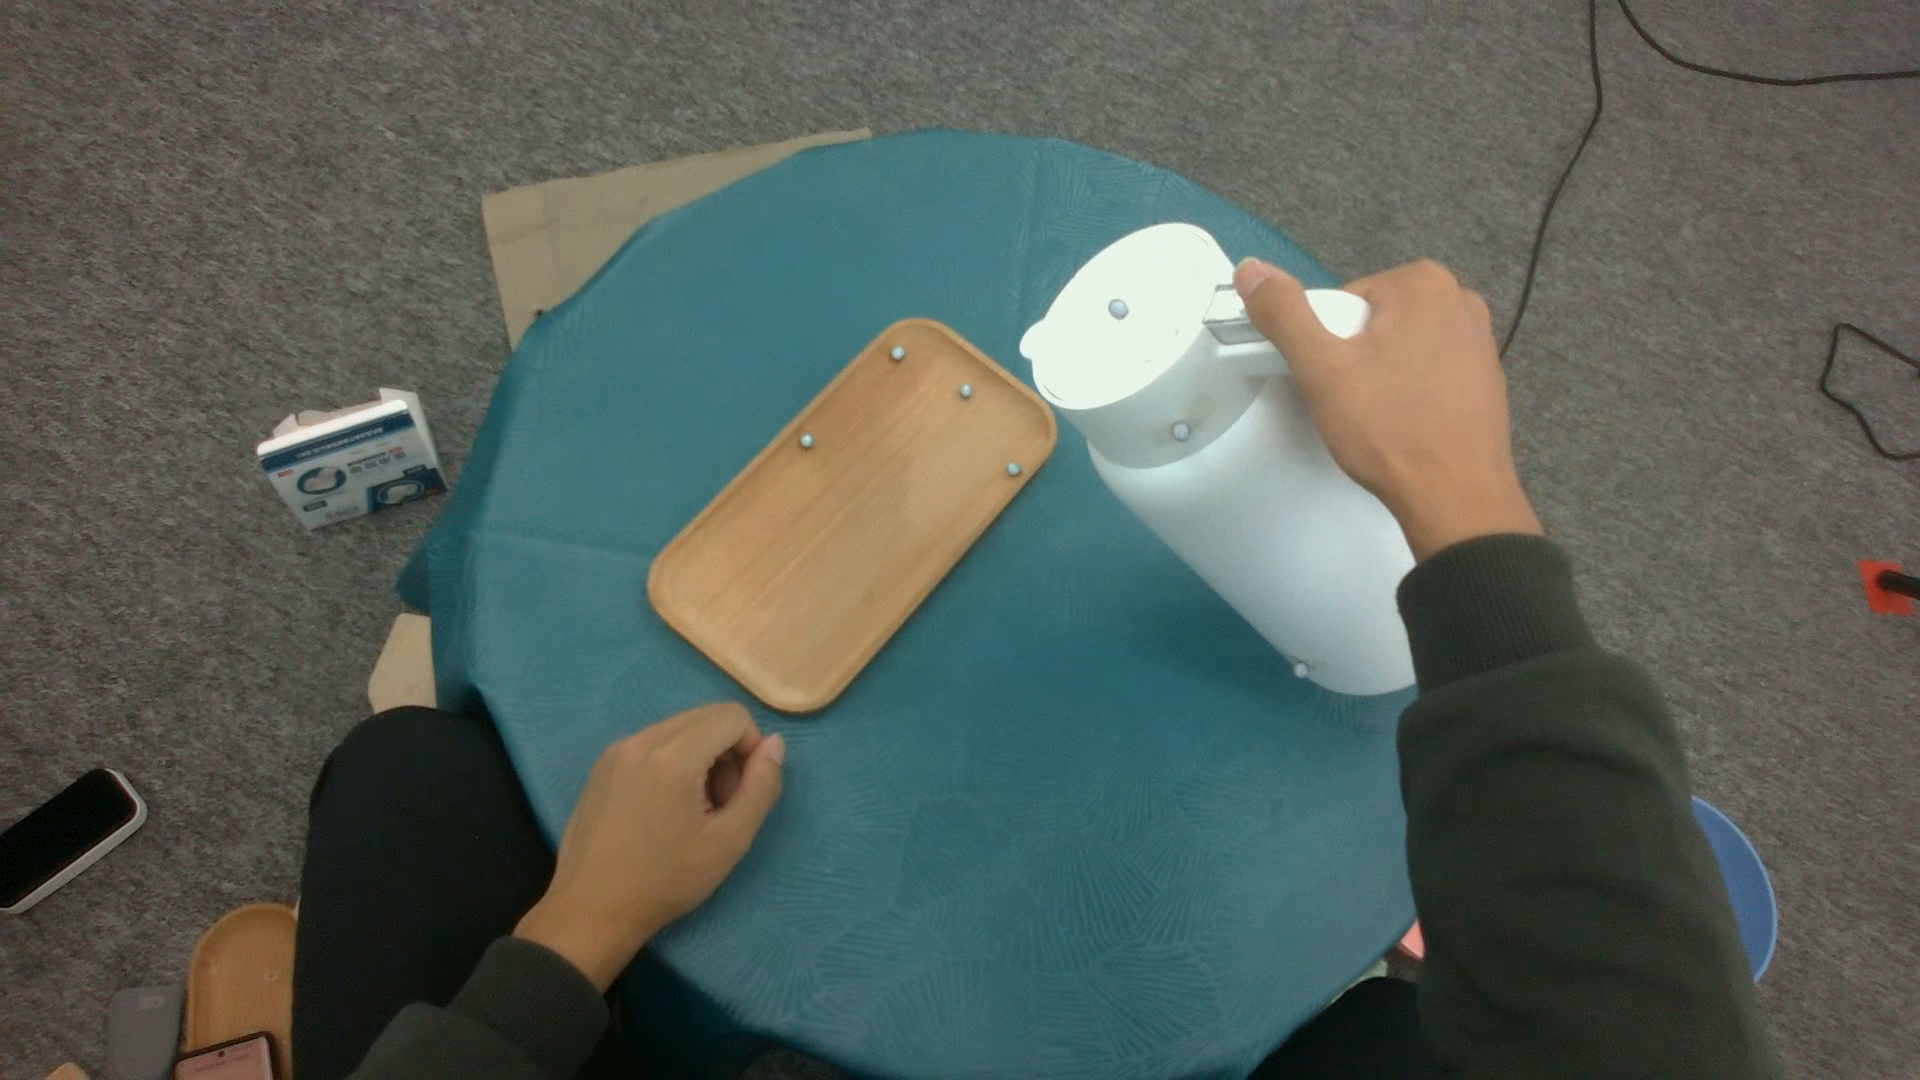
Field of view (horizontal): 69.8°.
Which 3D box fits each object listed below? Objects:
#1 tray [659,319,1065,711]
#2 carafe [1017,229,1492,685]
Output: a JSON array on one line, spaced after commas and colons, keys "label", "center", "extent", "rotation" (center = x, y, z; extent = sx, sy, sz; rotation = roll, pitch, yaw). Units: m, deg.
[{"label": "tray", "center": [-0.052, -0.020, 0.803], "extent": [0.130, 0.023, 0.251], "rotation": [38, 68, 12]}, {"label": "carafe", "center": [0.169, -0.035, 0.676], "extent": [0.268, 0.172, 0.124], "rotation": [40, 64, -35]}]
